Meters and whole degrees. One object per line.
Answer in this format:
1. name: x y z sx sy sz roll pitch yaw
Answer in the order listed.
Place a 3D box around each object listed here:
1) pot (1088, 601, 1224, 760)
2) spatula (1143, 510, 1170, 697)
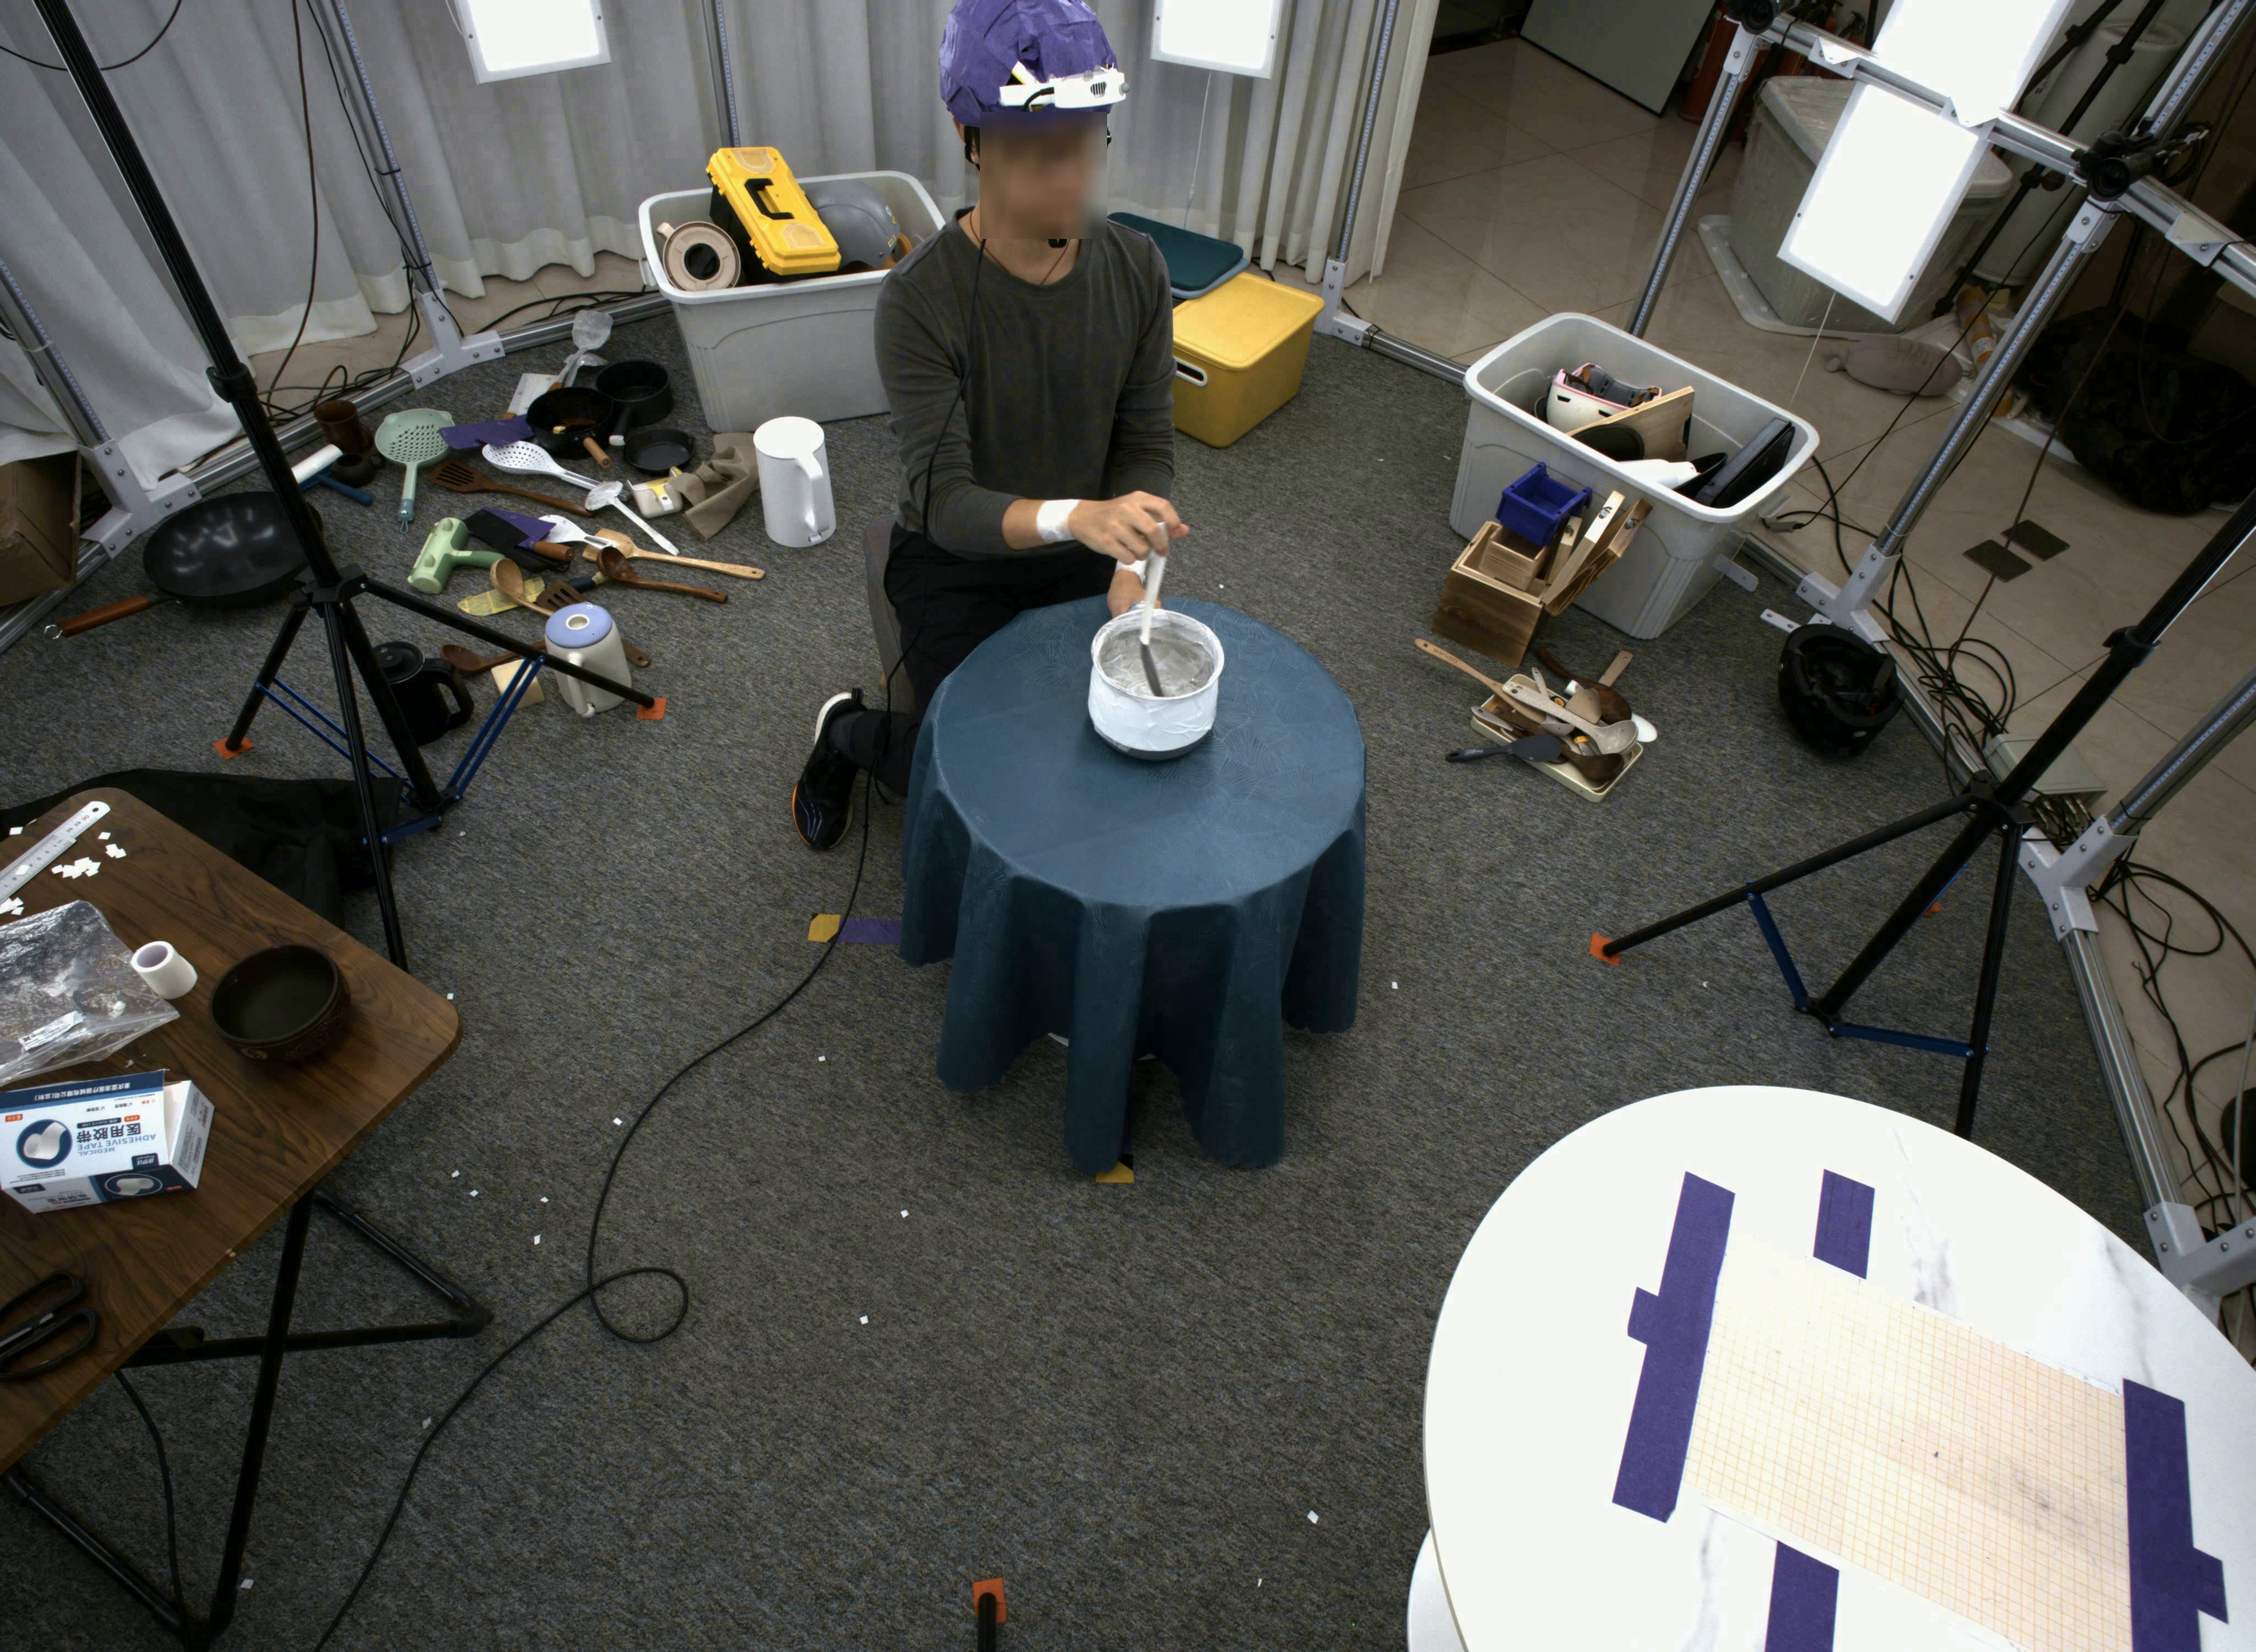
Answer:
1. pot: 0.029 -0.209 1.763 0.178 0.133 0.239 -7 50 -11
2. spatula: 0.036 -0.262 1.616 0.032 0.280 0.060 -18 44 -18
